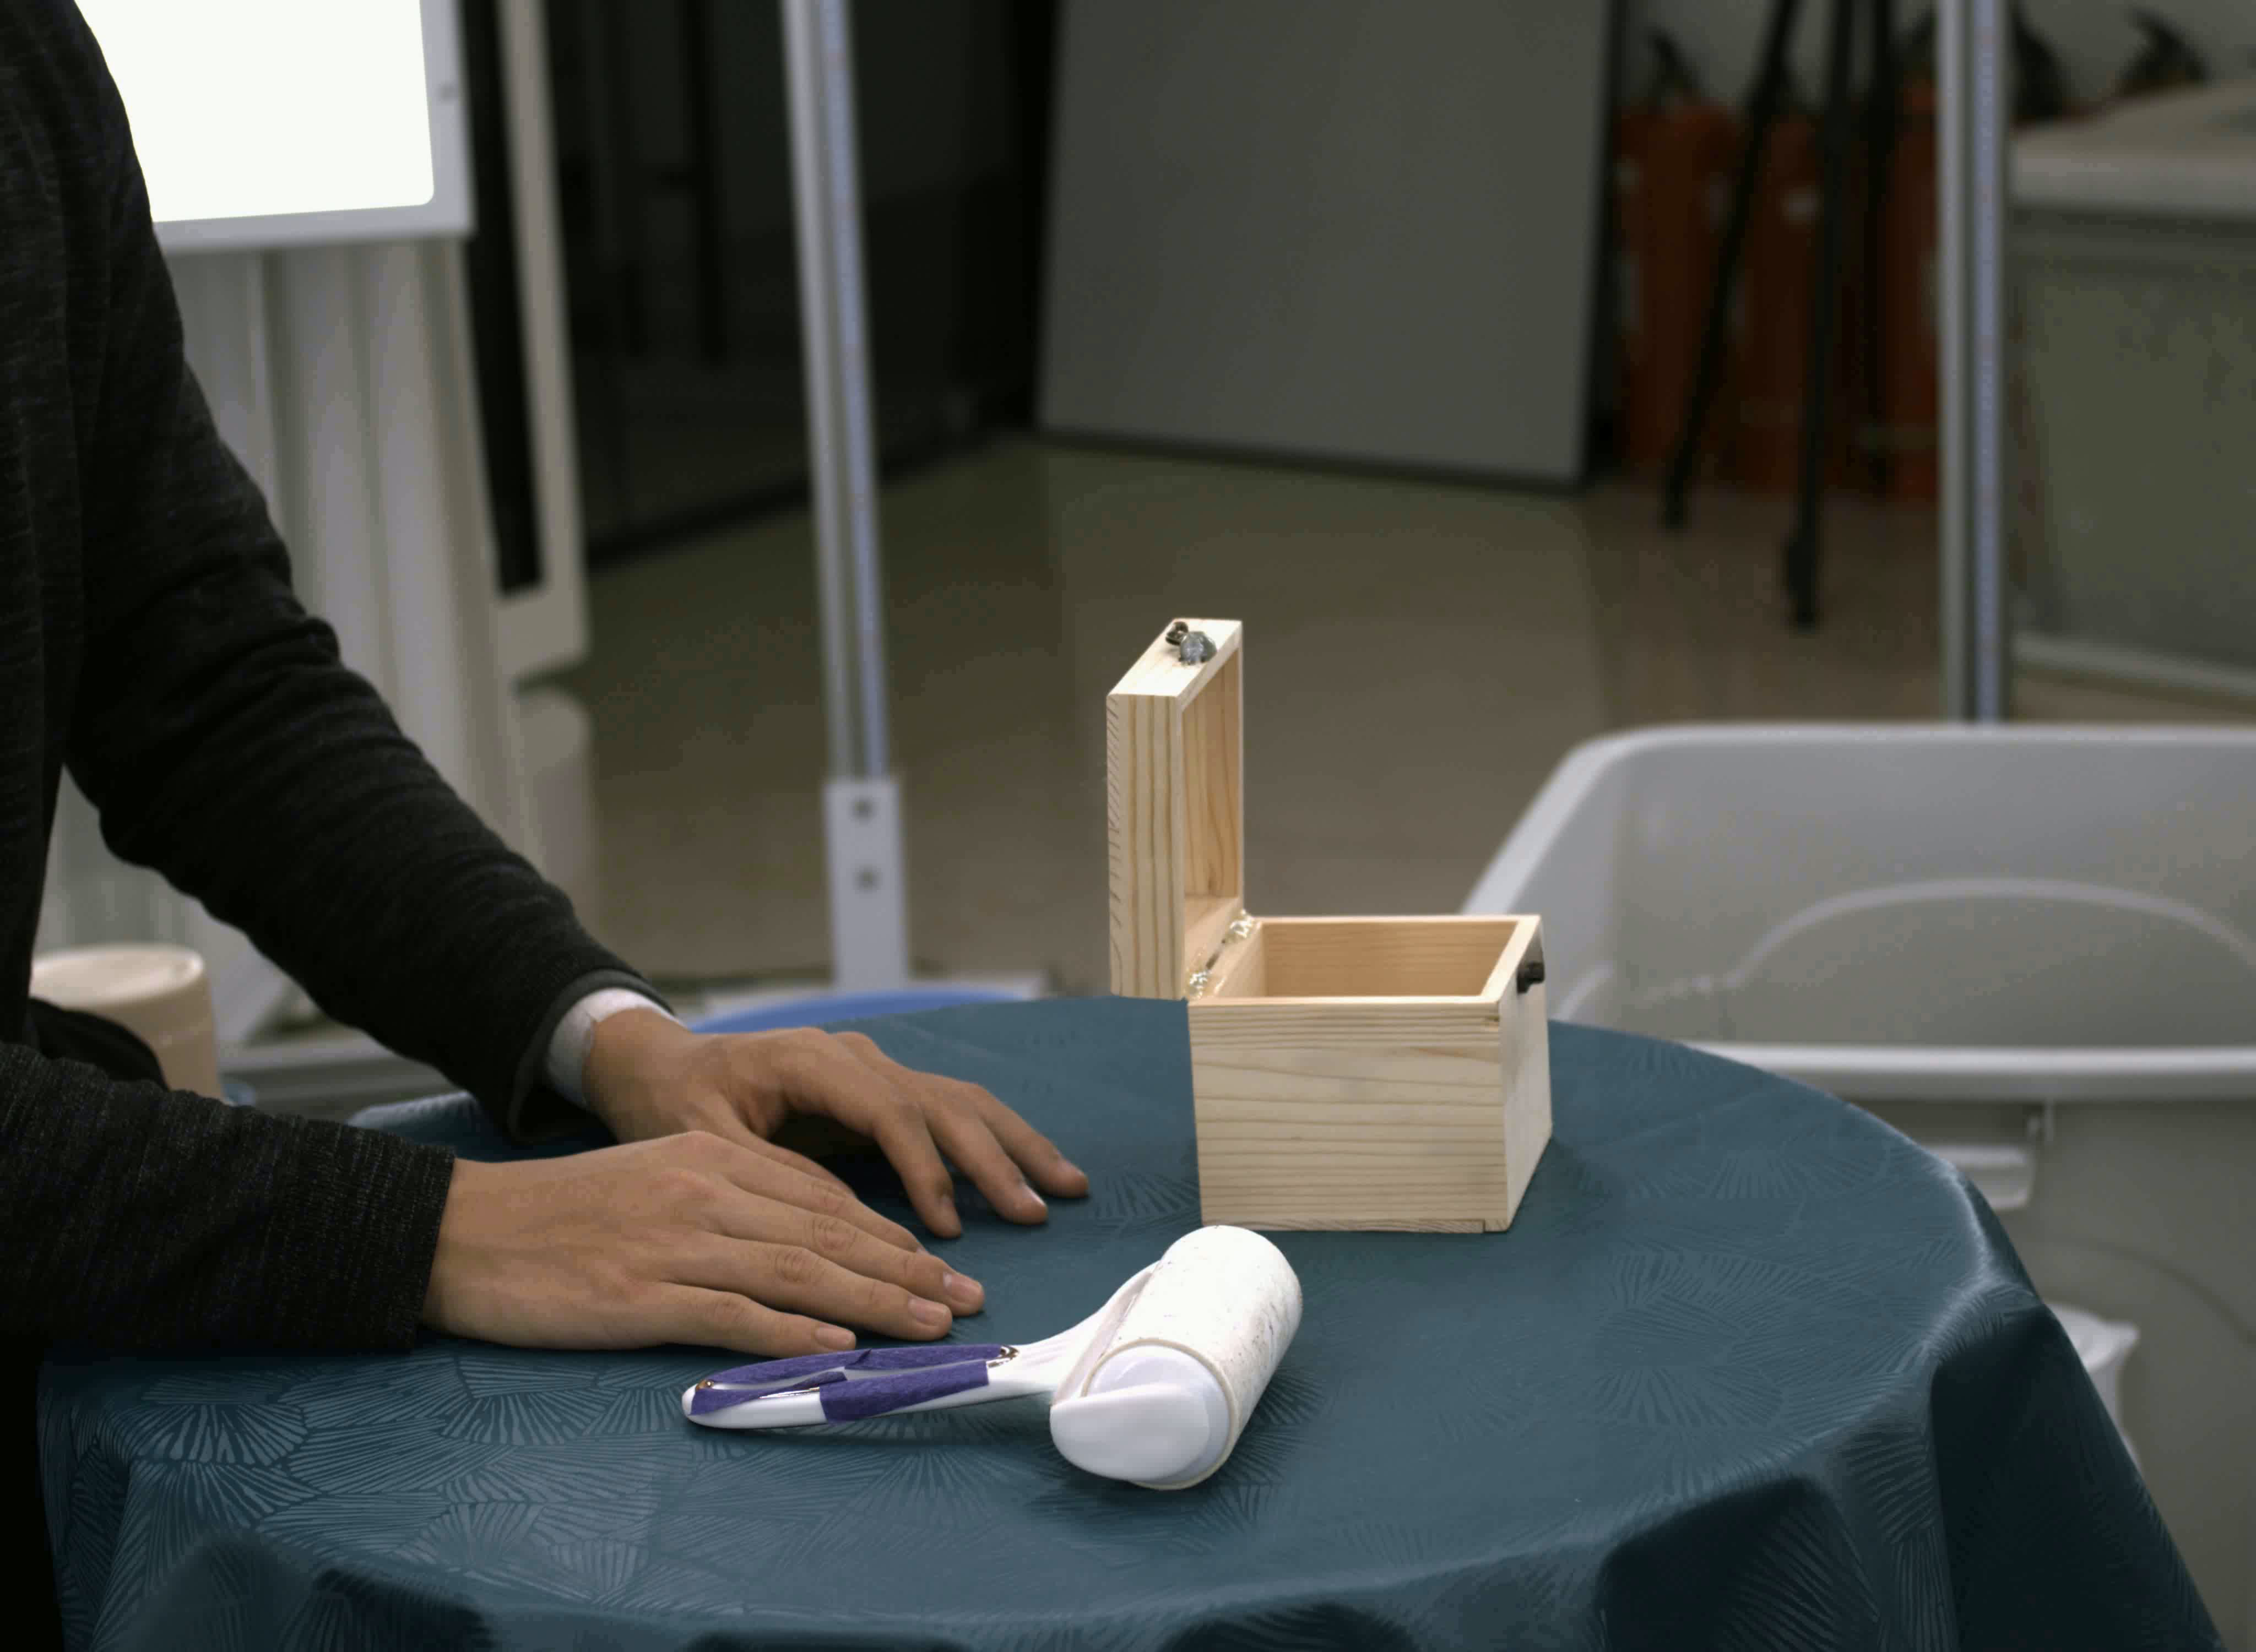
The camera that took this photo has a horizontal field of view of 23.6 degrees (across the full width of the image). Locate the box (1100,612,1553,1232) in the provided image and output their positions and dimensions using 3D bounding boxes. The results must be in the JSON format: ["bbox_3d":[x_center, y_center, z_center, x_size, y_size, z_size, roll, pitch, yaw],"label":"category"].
[{"bbox_3d":[0.068,0.028,1.742,0.133,0.186,0.102,-1,13,14],"label":"box"}]

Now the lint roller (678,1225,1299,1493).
[{"bbox_3d":[-0.044,0.151,1.562,0.180,0.051,0.132,2,16,15],"label":"lint roller"}]
